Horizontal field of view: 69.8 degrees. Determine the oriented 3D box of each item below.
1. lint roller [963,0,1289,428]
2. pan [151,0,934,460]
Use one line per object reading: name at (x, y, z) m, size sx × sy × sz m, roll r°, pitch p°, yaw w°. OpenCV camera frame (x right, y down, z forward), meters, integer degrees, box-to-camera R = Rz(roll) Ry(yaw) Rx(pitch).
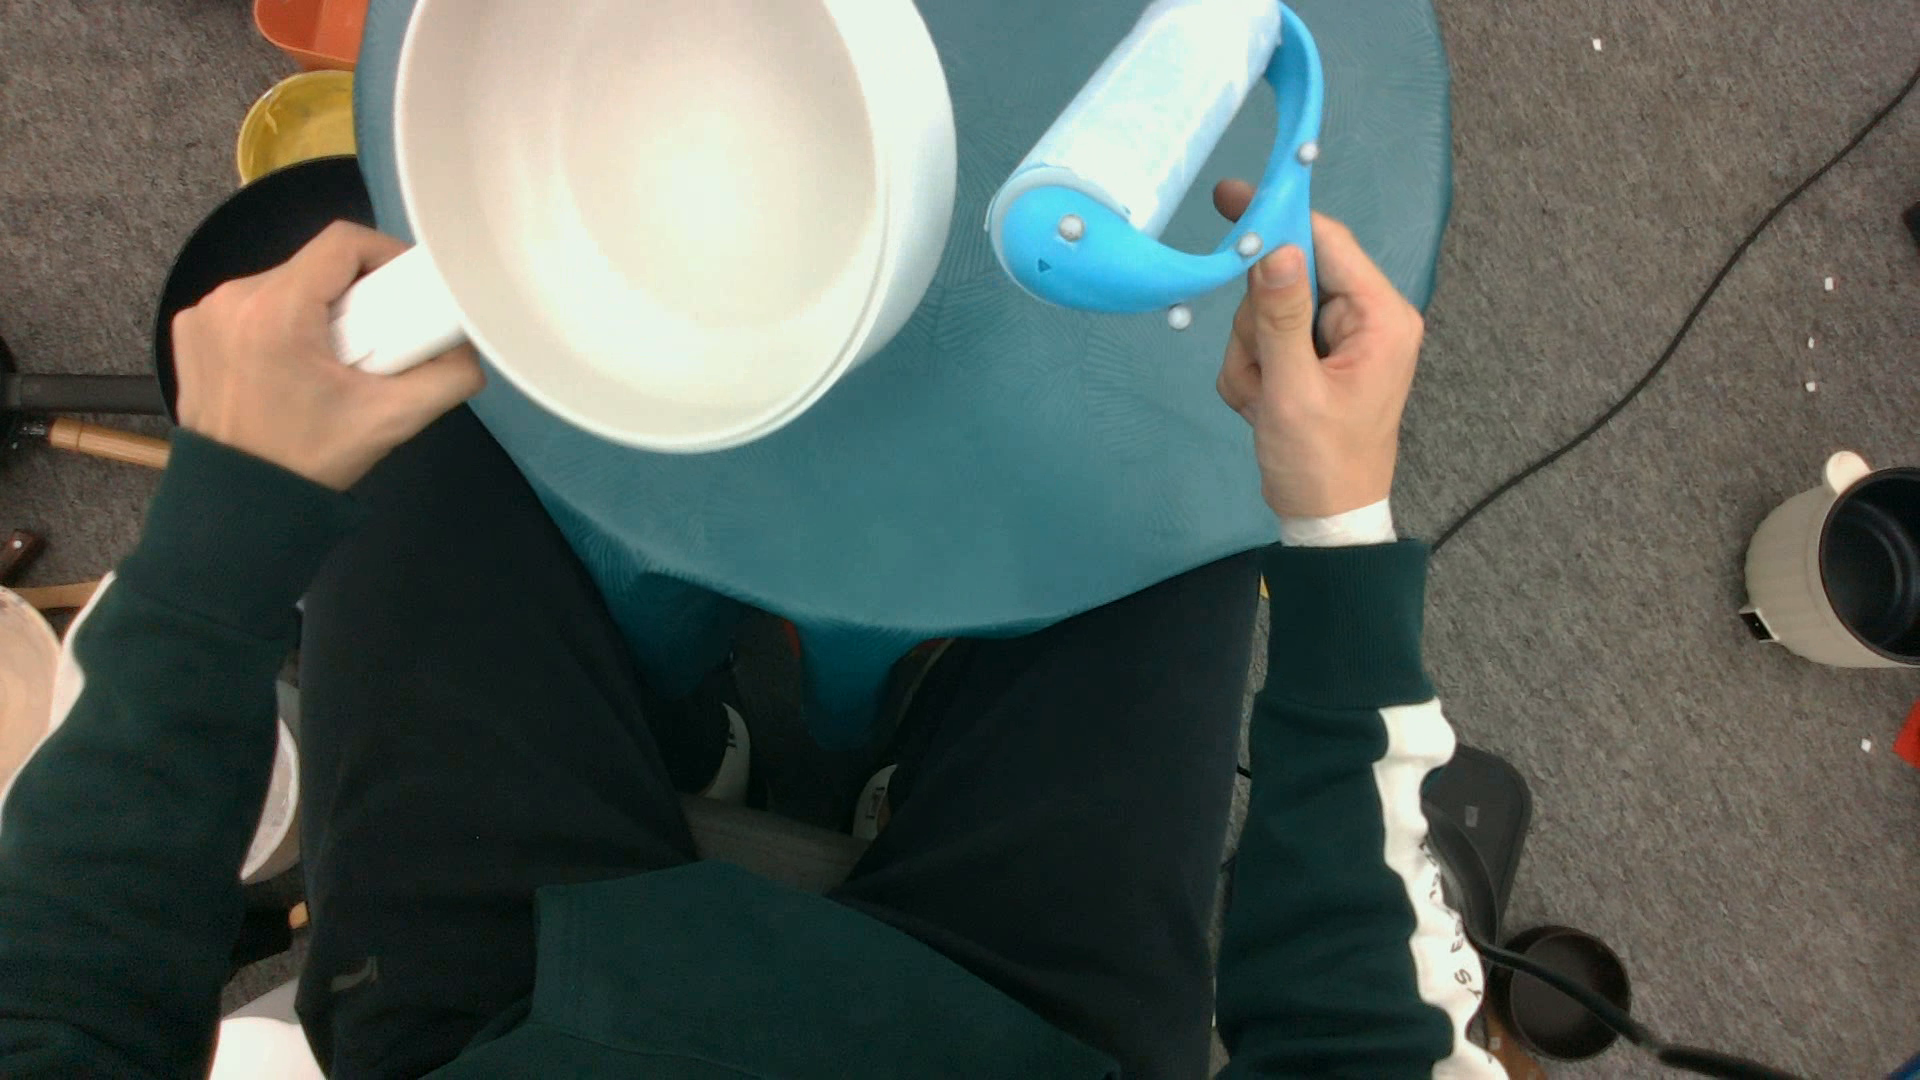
lint roller at (0.092, -0.123, 0.532) m, size 0.180 × 0.067 × 0.230 m, roll 49°, pitch 41°, yaw -26°
pan at (-0.176, -0.117, 0.560) m, size 0.353 × 0.102 × 0.201 m, roll -19°, pitch 104°, yaw 25°
